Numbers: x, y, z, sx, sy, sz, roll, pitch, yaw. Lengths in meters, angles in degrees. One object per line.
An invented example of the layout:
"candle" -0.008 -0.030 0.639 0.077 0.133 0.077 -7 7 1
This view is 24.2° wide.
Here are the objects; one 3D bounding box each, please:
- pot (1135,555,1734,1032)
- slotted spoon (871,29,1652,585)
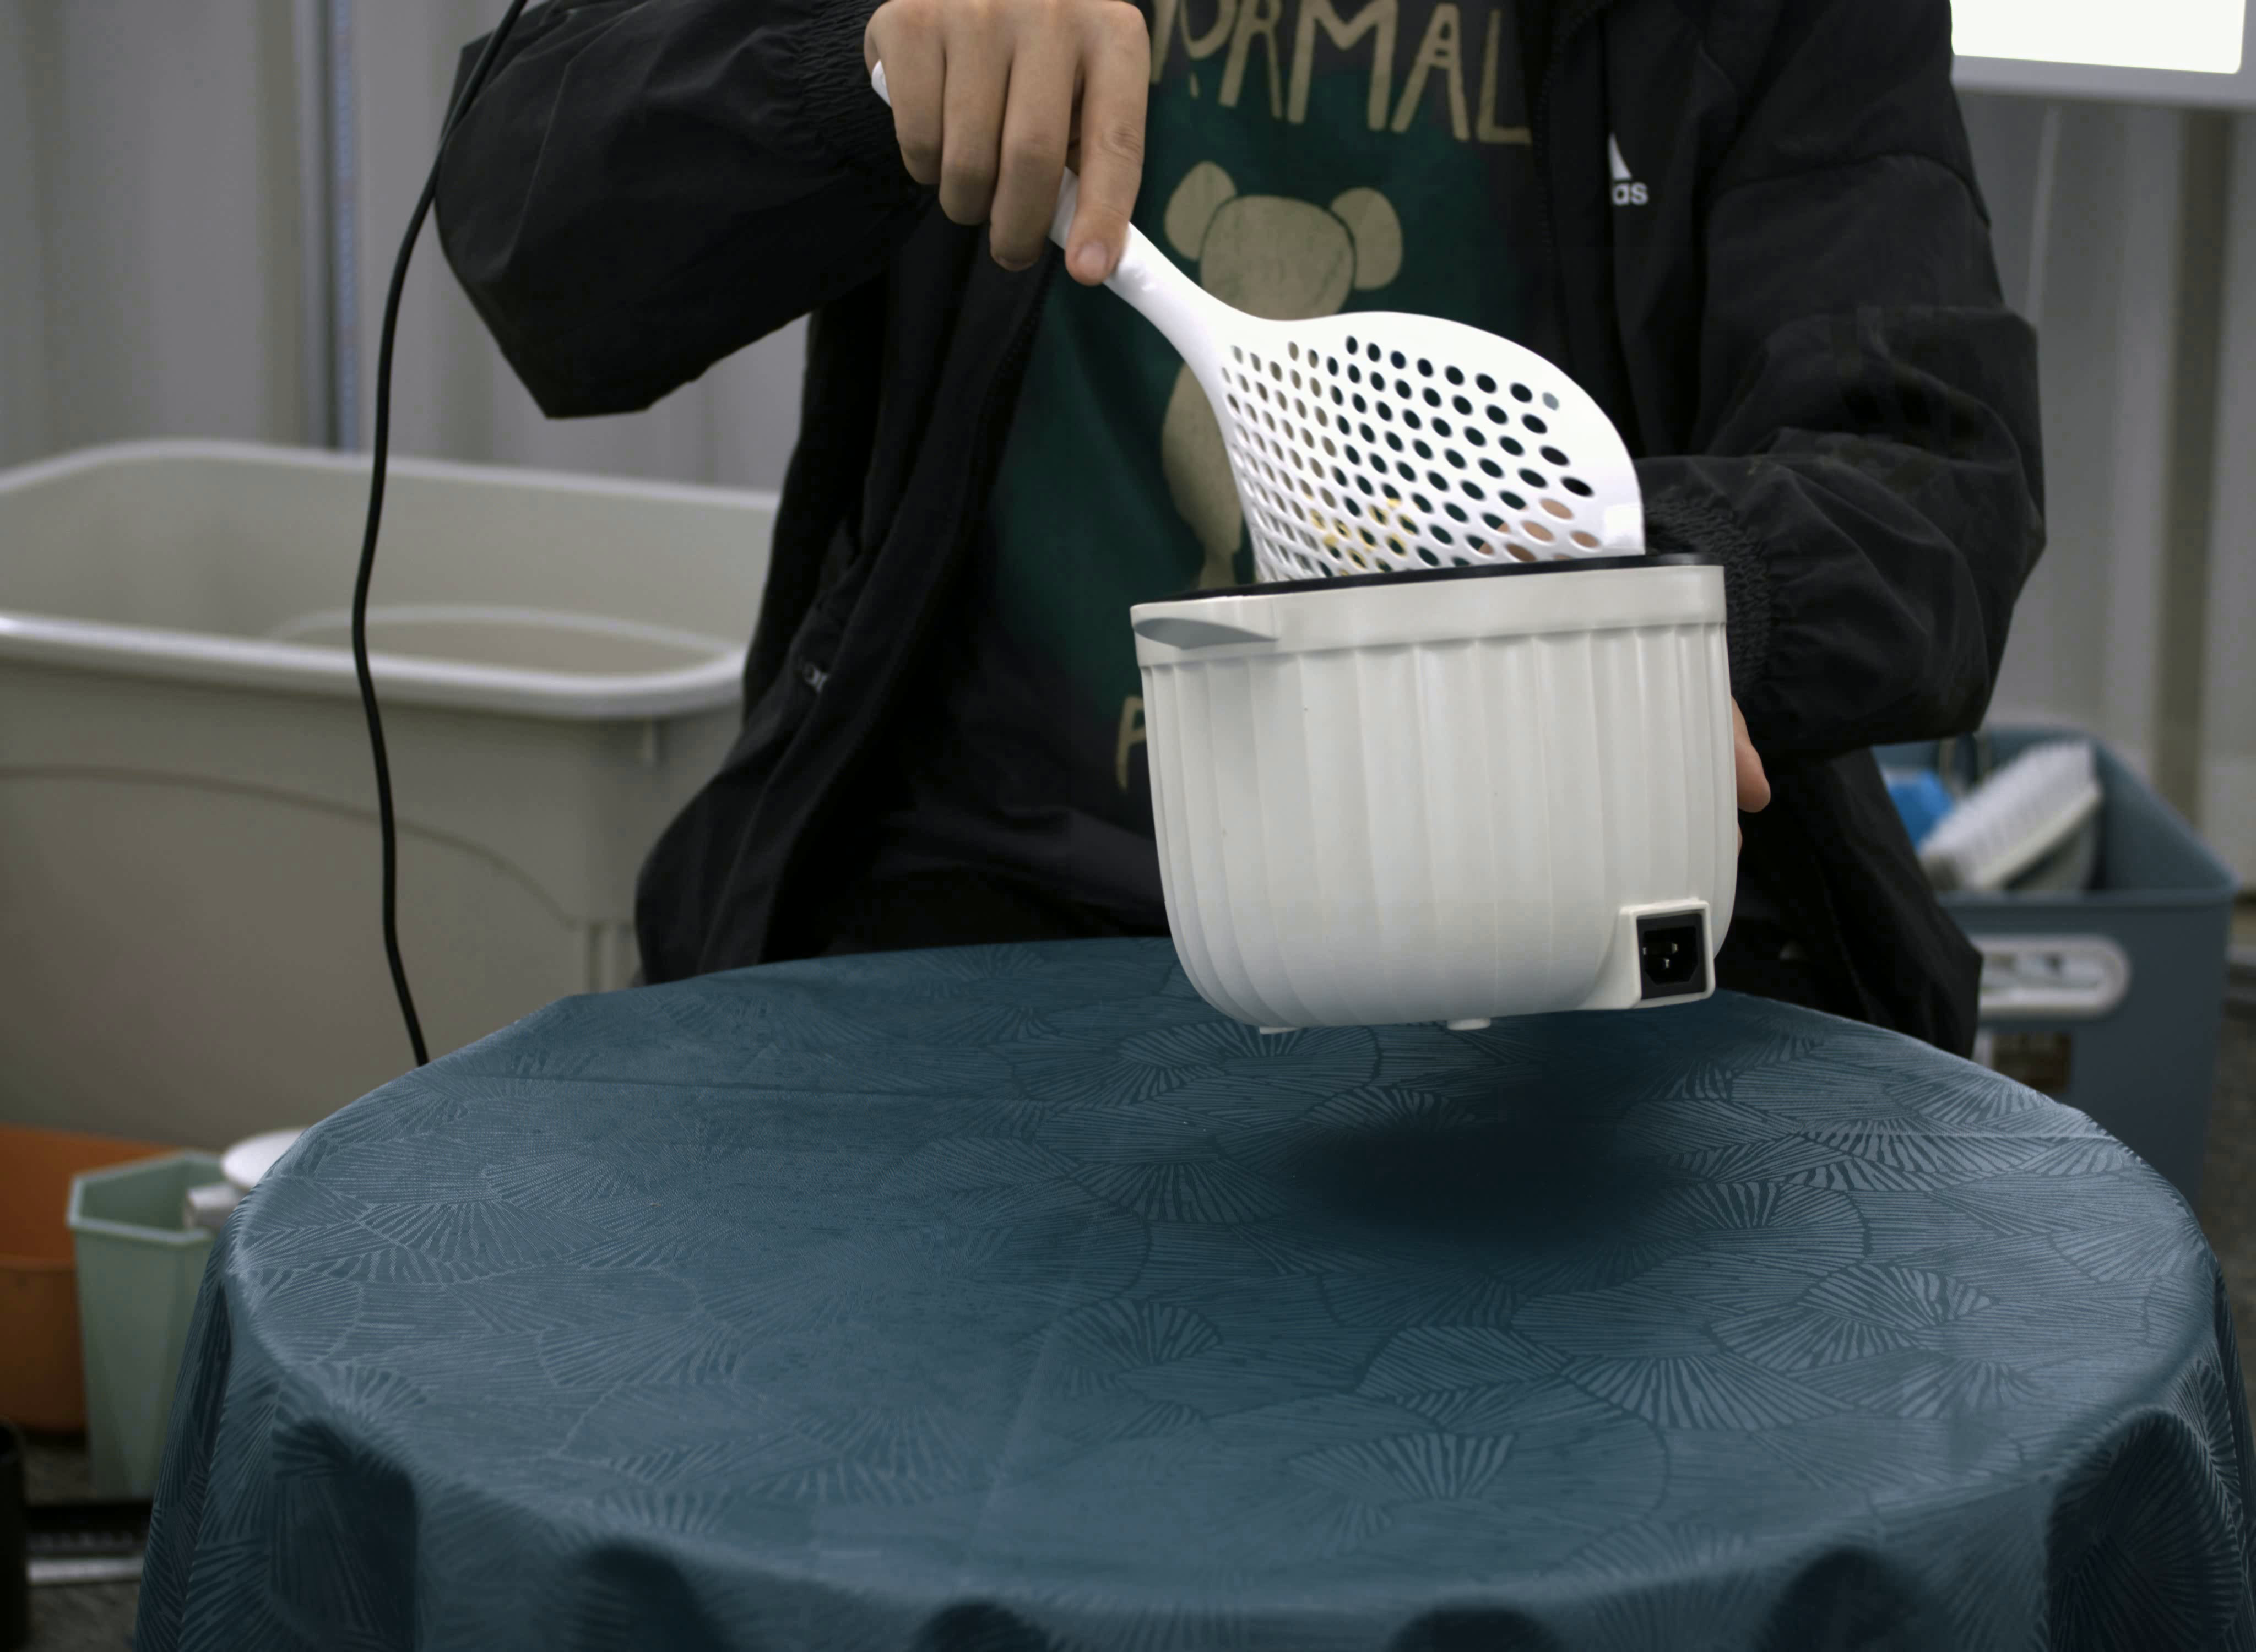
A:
"pot" 0.091 -0.010 1.612 0.188 0.143 0.242 2 4 44
"slotted spoon" 0.029 -0.149 1.657 0.050 0.137 0.343 -4 40 -44
